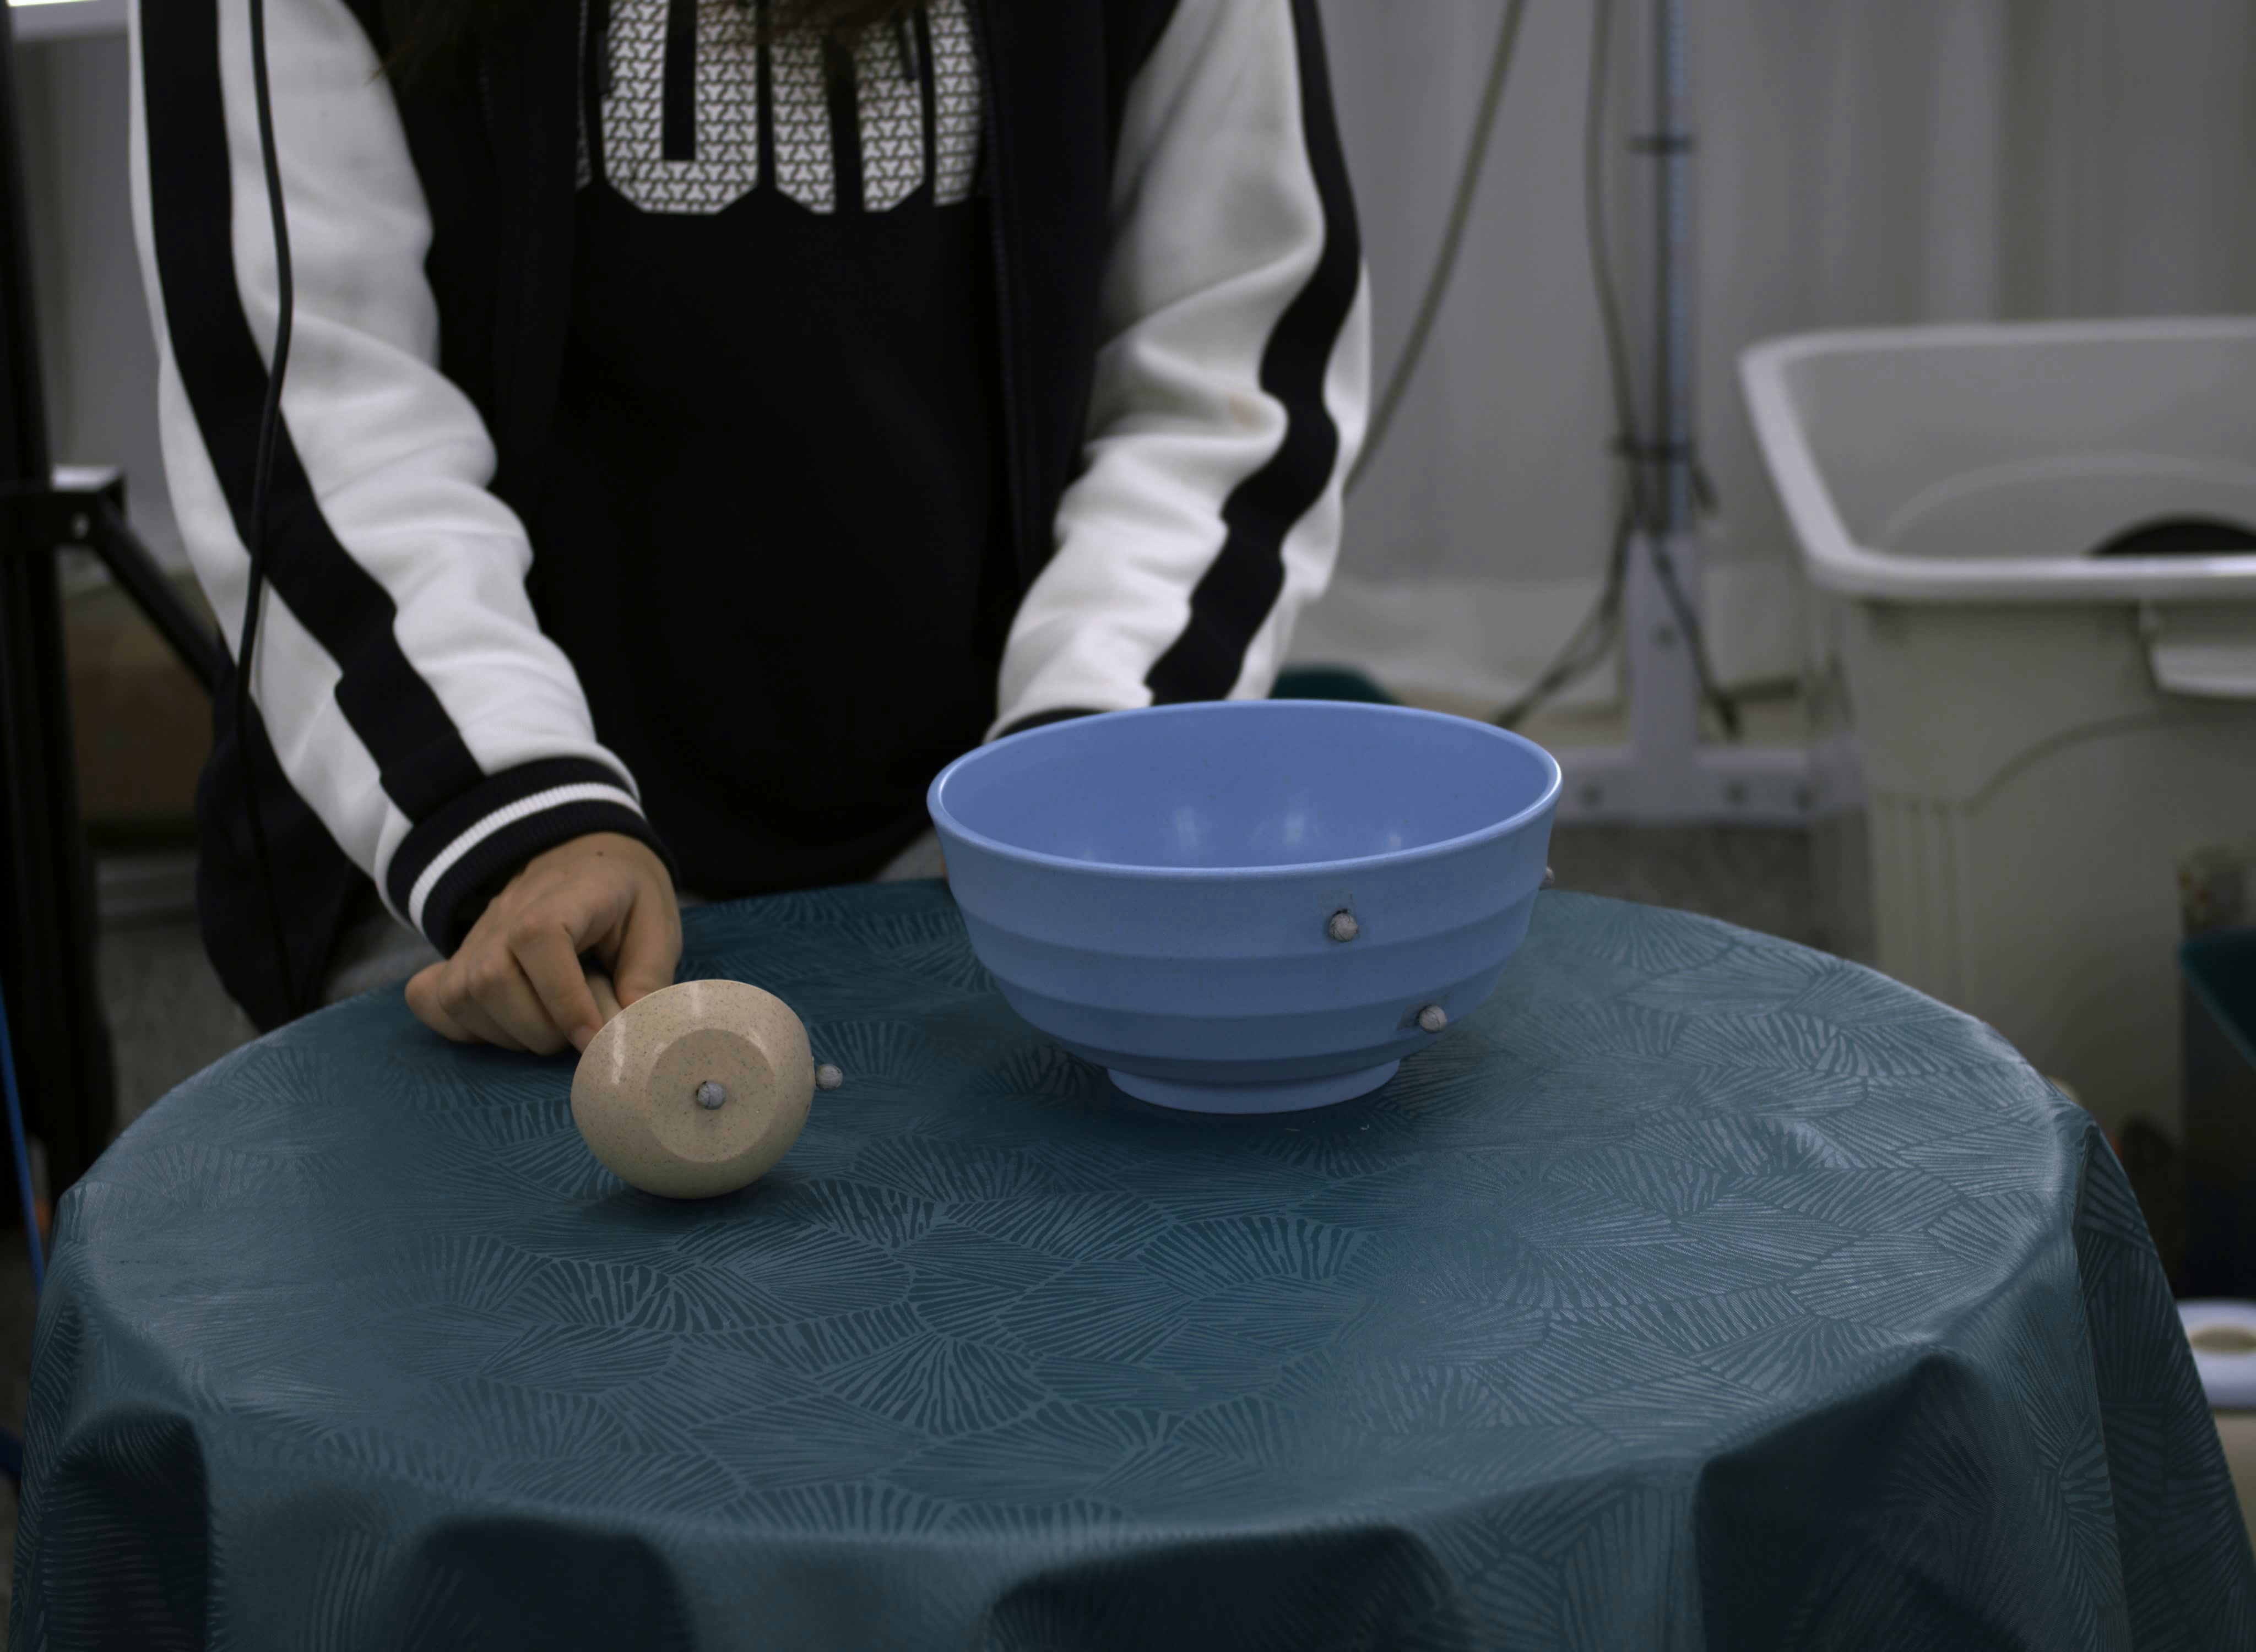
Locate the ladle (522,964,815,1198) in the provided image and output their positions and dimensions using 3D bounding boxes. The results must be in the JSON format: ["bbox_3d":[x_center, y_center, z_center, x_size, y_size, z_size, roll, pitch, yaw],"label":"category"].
[{"bbox_3d":[-0.157,0.049,1.655,0.071,0.073,0.258,-8,17,-16],"label":"ladle"}]

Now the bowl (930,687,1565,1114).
[{"bbox_3d":[0.037,0.030,1.652,0.195,0.095,0.197,-1,18,-1],"label":"bowl"}]
